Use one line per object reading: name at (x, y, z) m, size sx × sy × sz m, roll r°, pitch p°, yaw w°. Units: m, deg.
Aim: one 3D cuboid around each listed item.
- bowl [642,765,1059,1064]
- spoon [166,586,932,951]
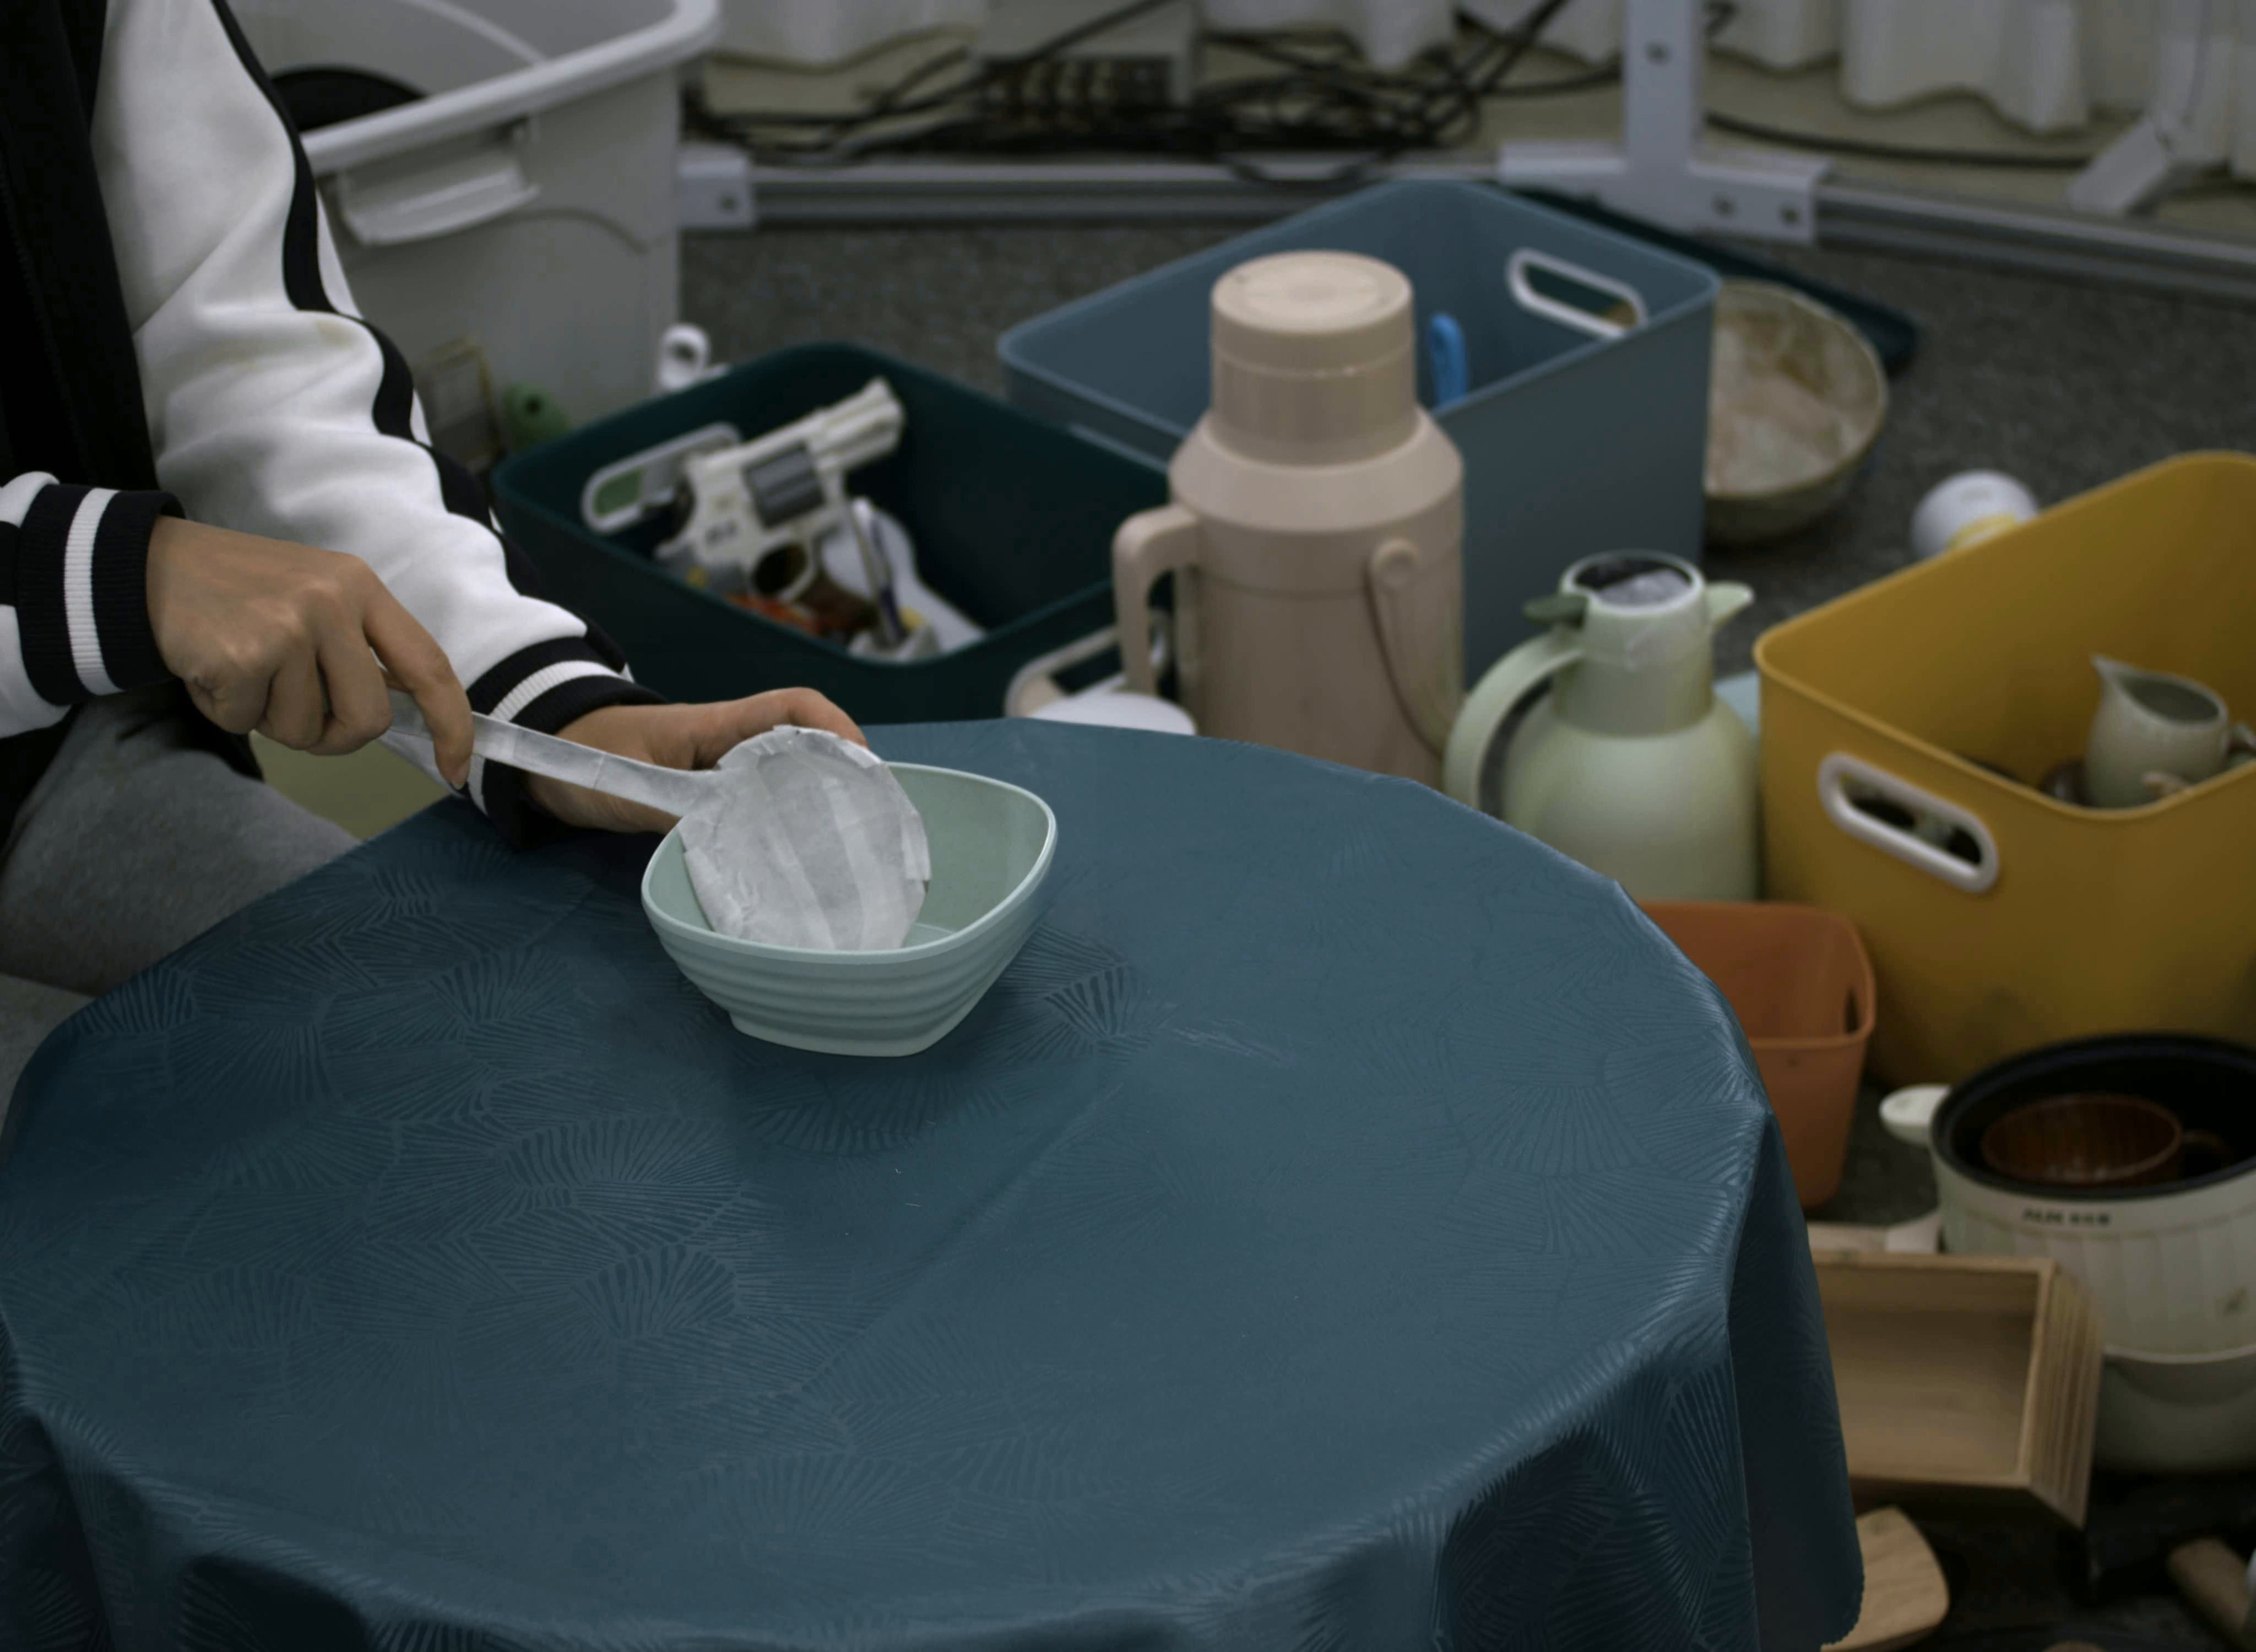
bowl at (-0.095, 0.037, 1.978) m, size 0.151 × 0.058 × 0.154 m, roll -2°, pitch 28°, yaw 2°
spoon at (-0.198, -0.026, 1.941) m, size 0.276 × 0.100 × 0.060 m, roll 21°, pitch 12°, yaw -20°
